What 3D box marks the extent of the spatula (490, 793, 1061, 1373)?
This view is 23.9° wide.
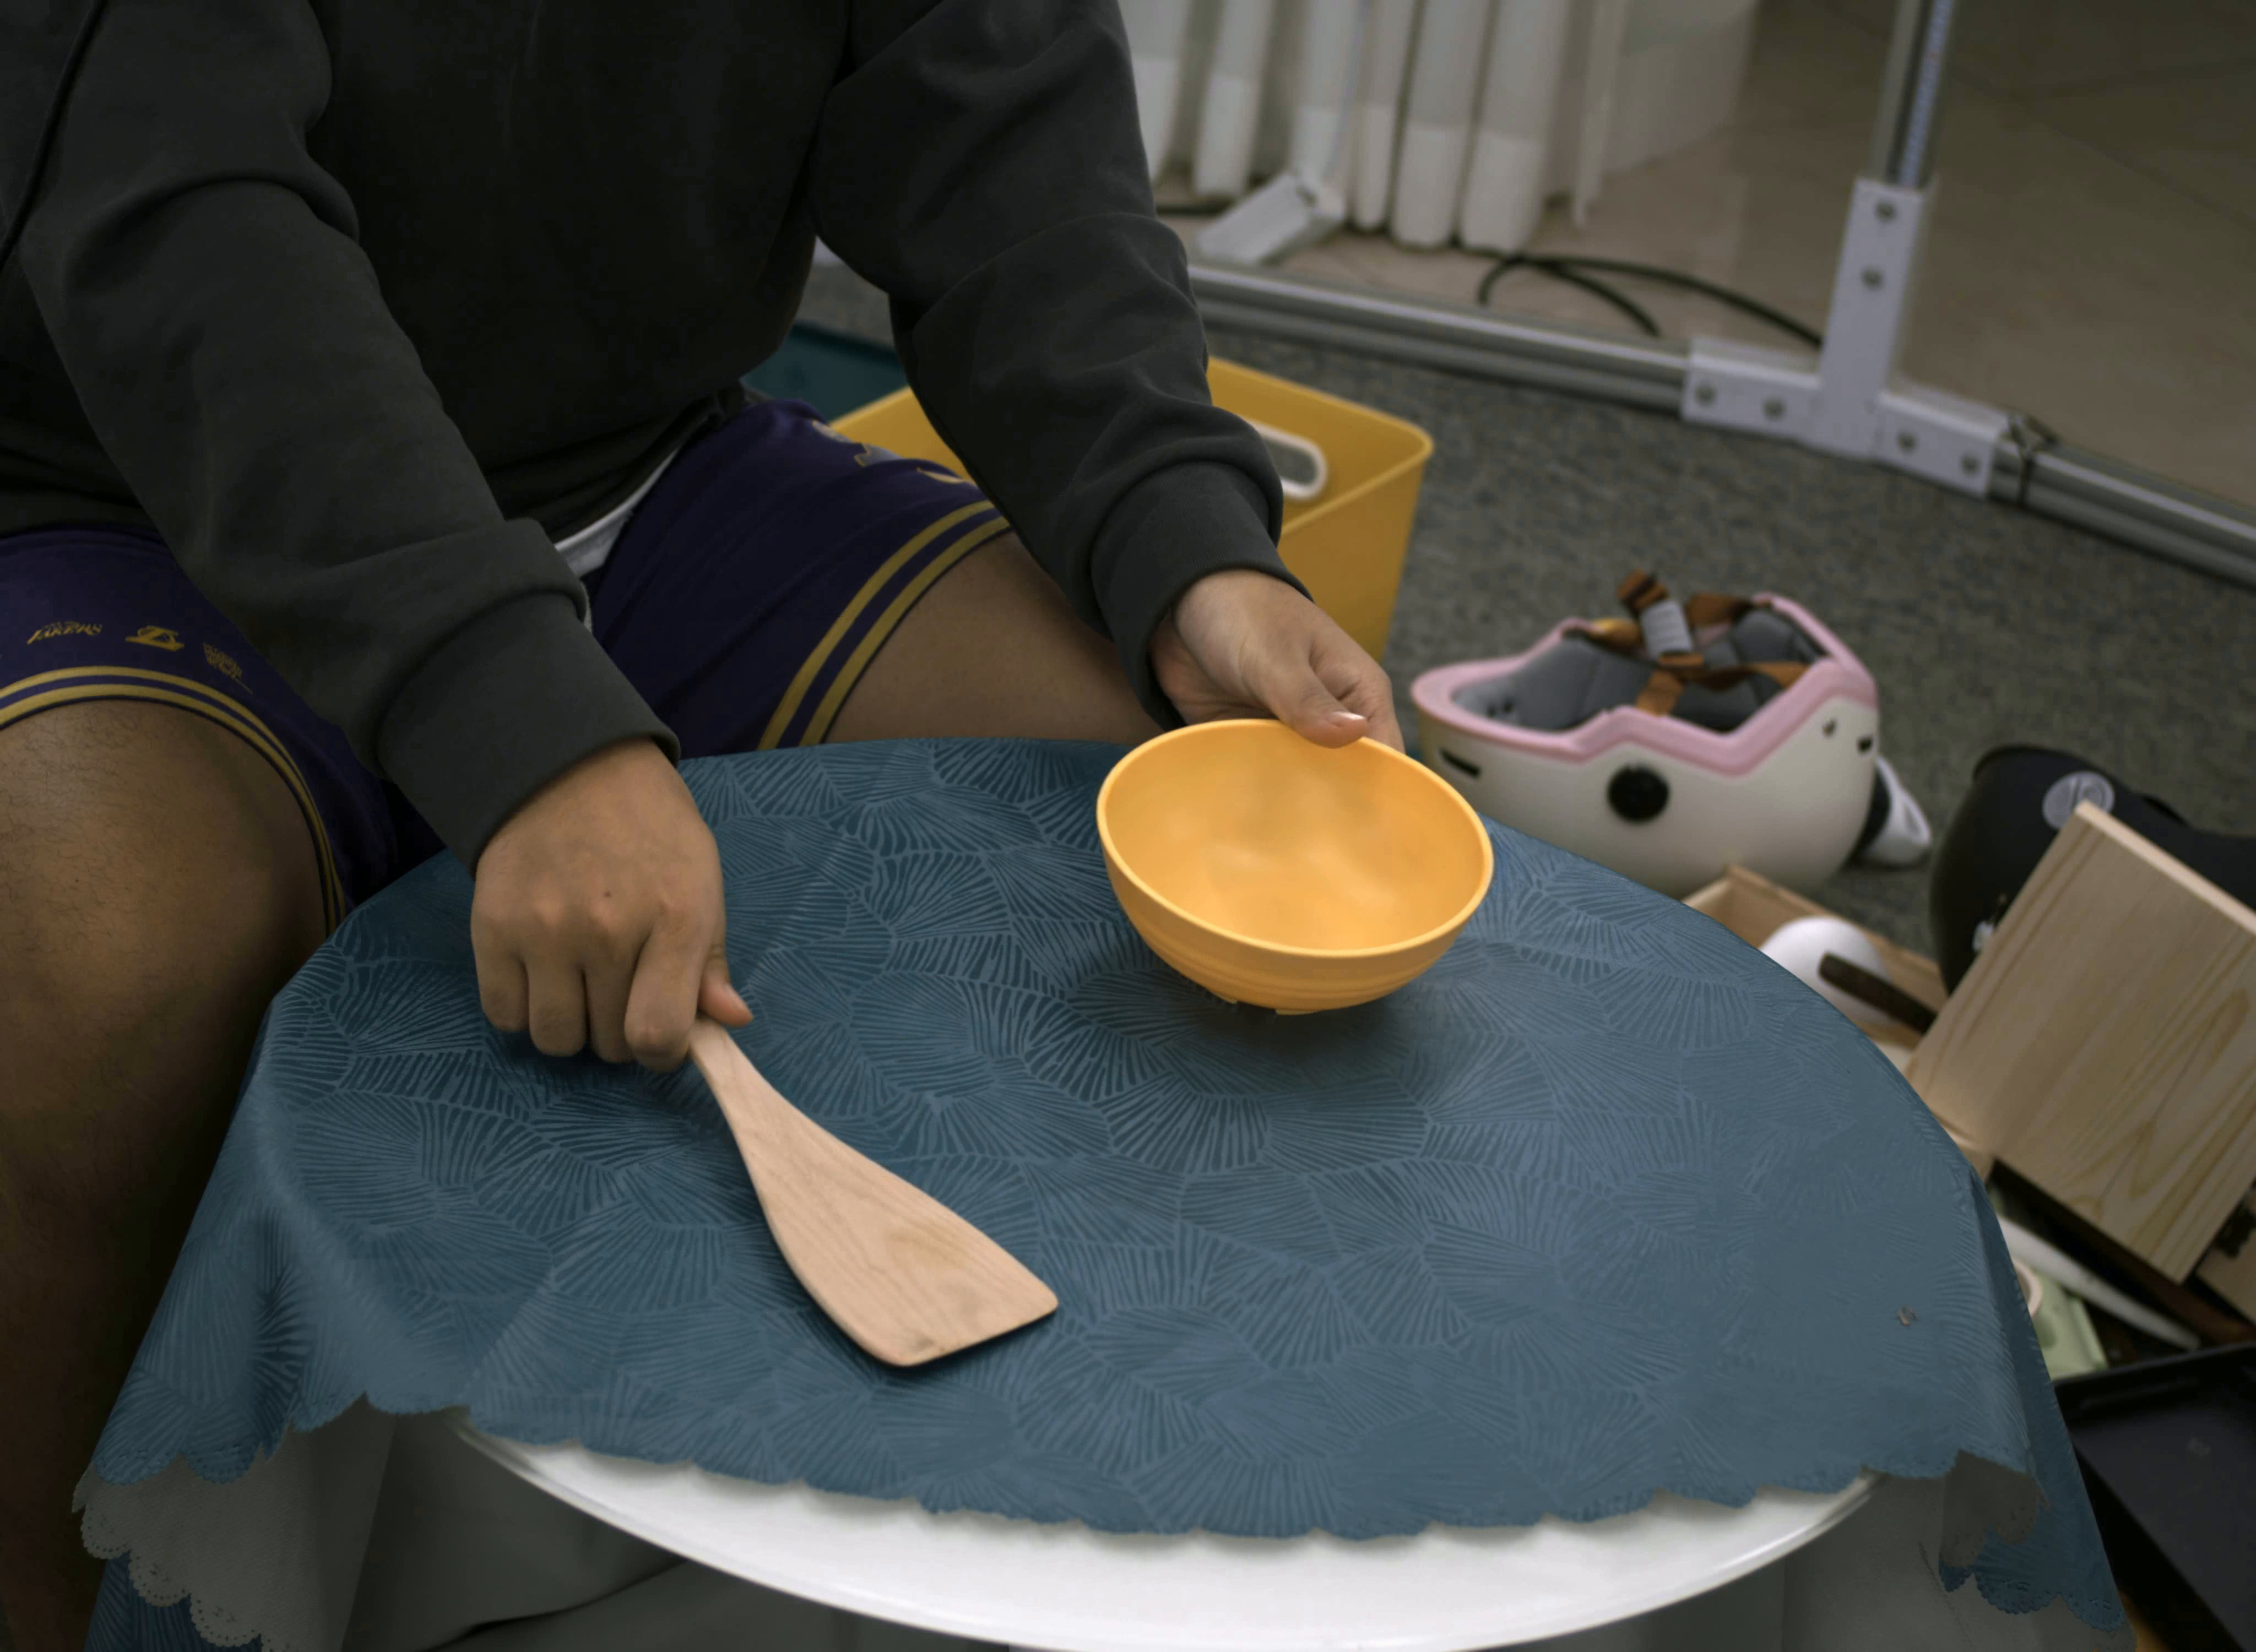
[{"bbox_3d":[-0.132,0.080,1.802,0.079,0.016,0.330,-9,40,-34],"label":"spatula"}]

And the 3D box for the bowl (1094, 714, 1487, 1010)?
[{"bbox_3d":[0.054,0.024,1.934,0.145,0.060,0.146,7,35,-6],"label":"bowl"}]
